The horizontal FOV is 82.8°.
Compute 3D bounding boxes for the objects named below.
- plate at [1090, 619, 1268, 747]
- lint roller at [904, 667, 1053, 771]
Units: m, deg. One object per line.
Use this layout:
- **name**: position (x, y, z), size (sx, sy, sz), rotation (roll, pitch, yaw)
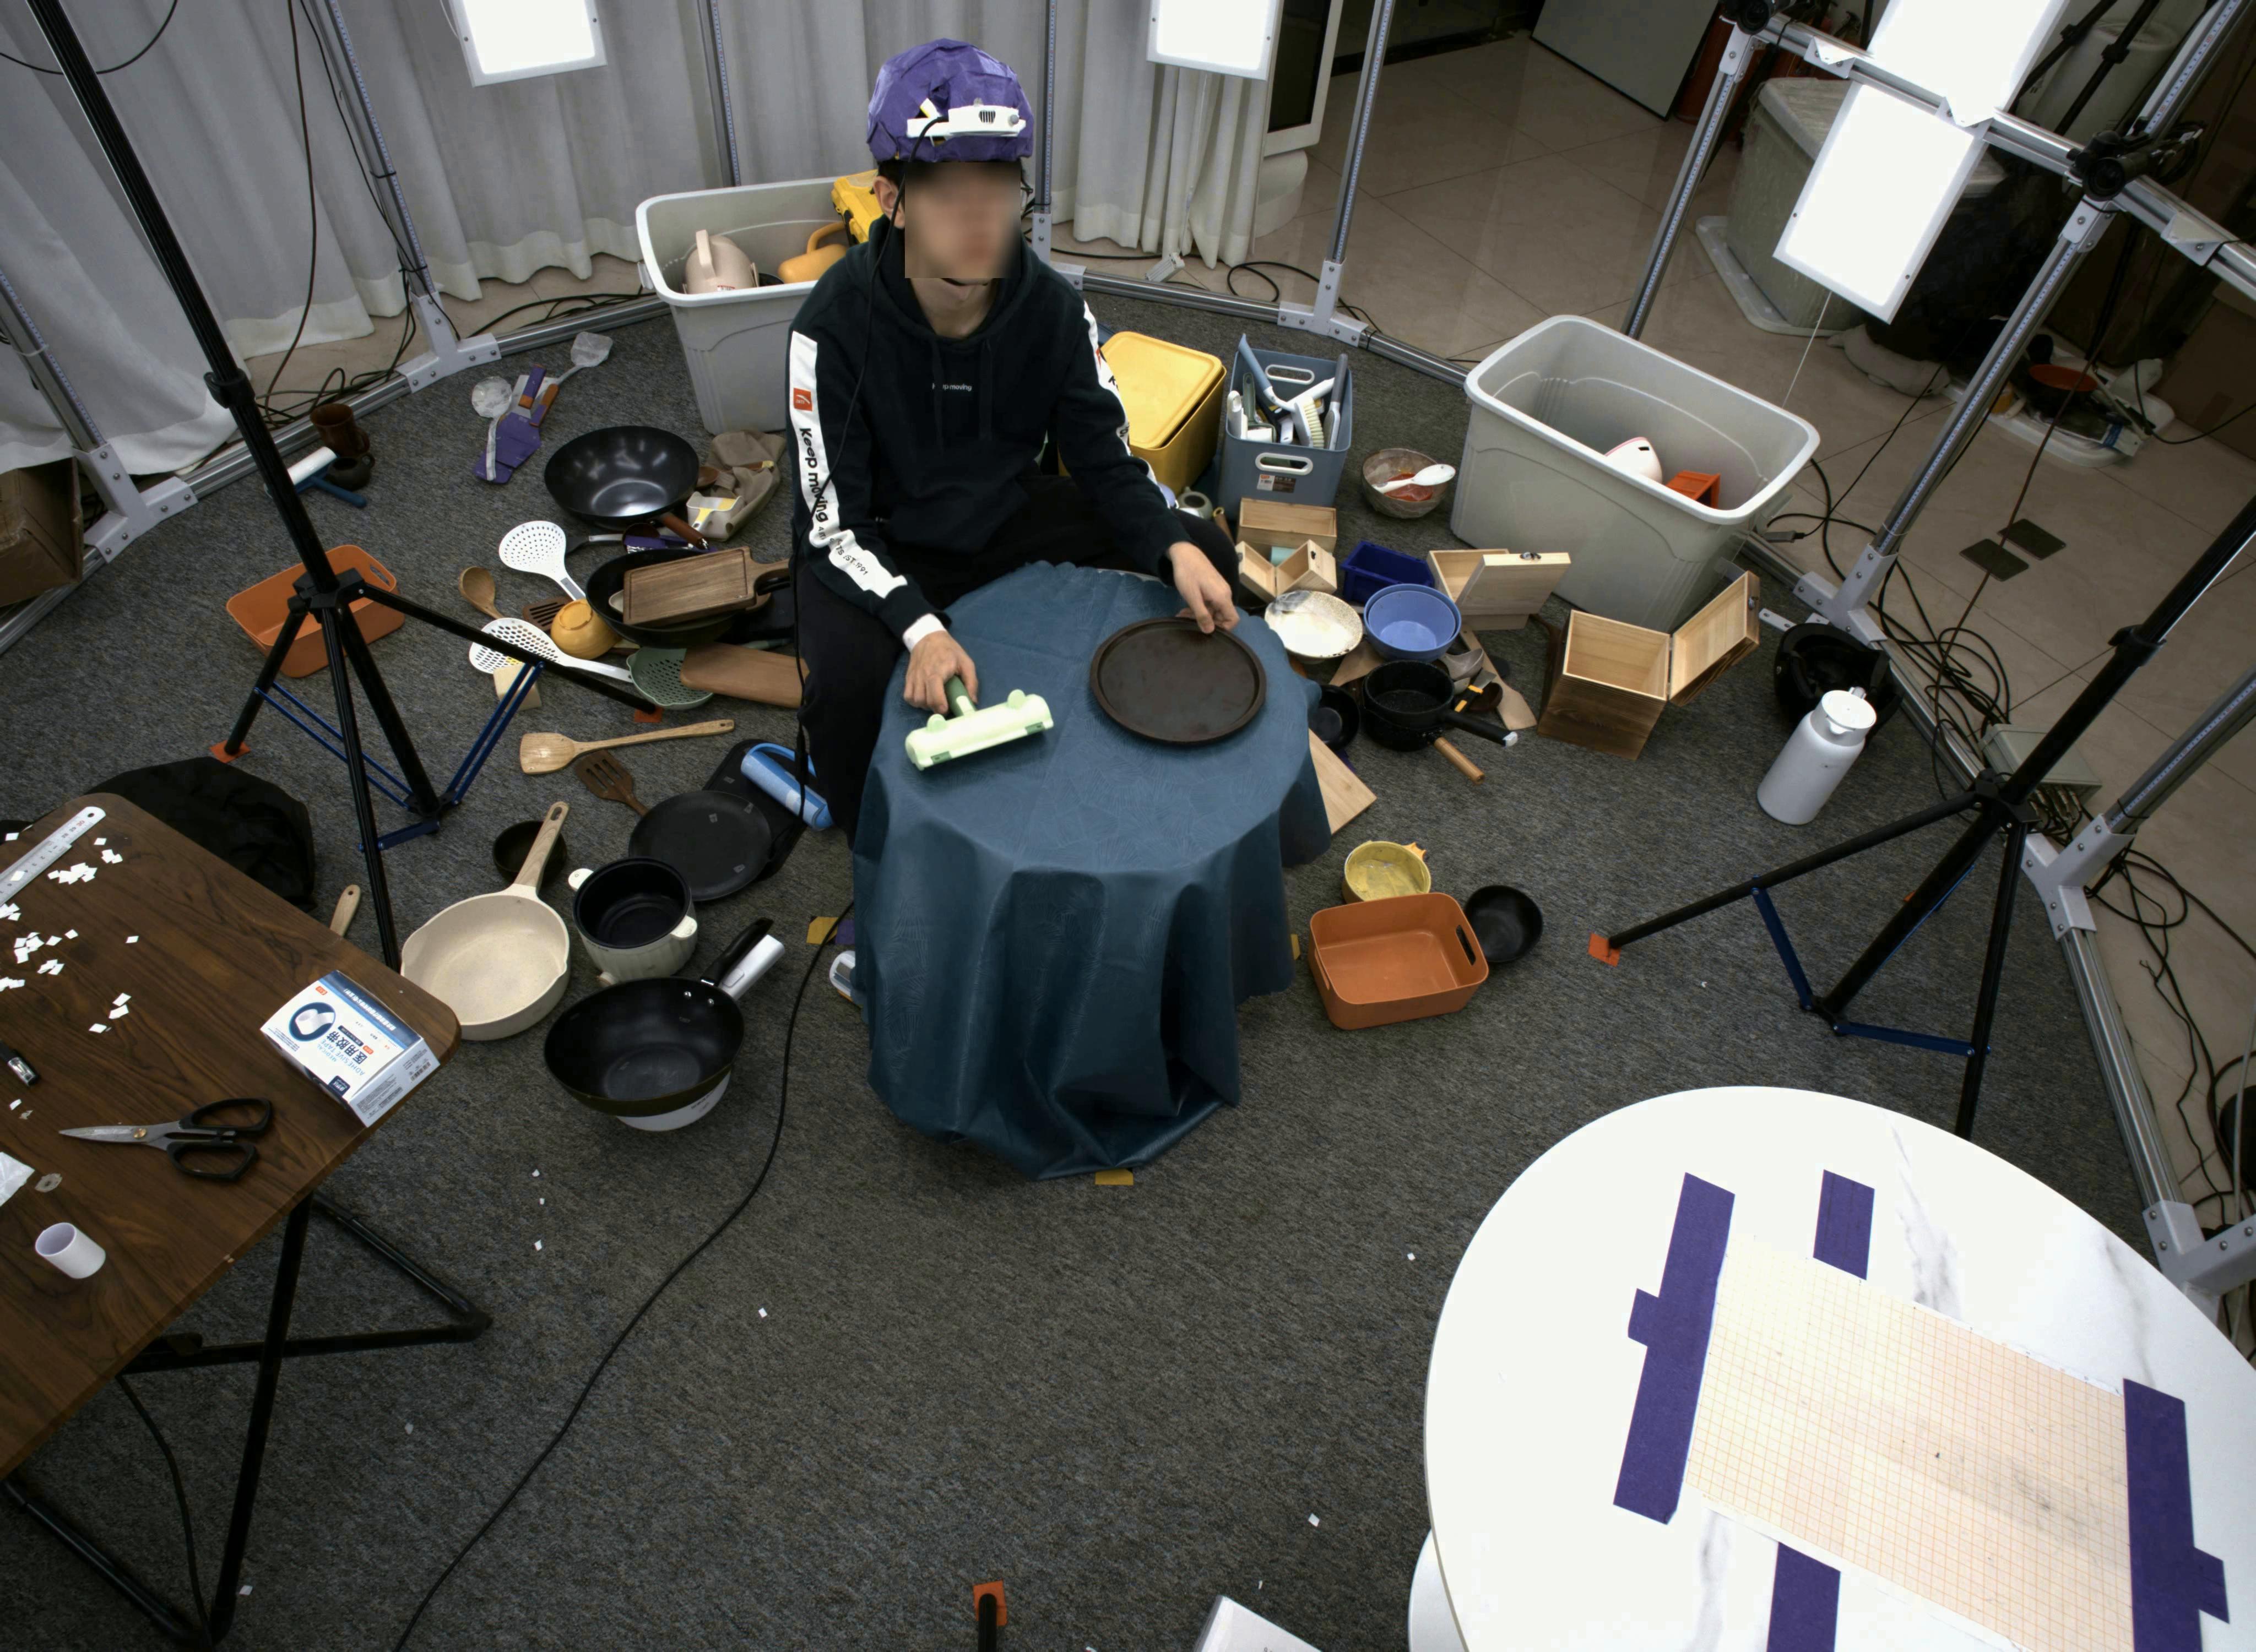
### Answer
- **plate**: position (0.072, -0.207, 1.836), size (0.254, 0.028, 0.261), rotation (1, 50, -2)
- **lint roller**: position (-0.225, -0.172, 1.750), size (0.199, 0.080, 0.187), rotation (-19, 57, -19)
